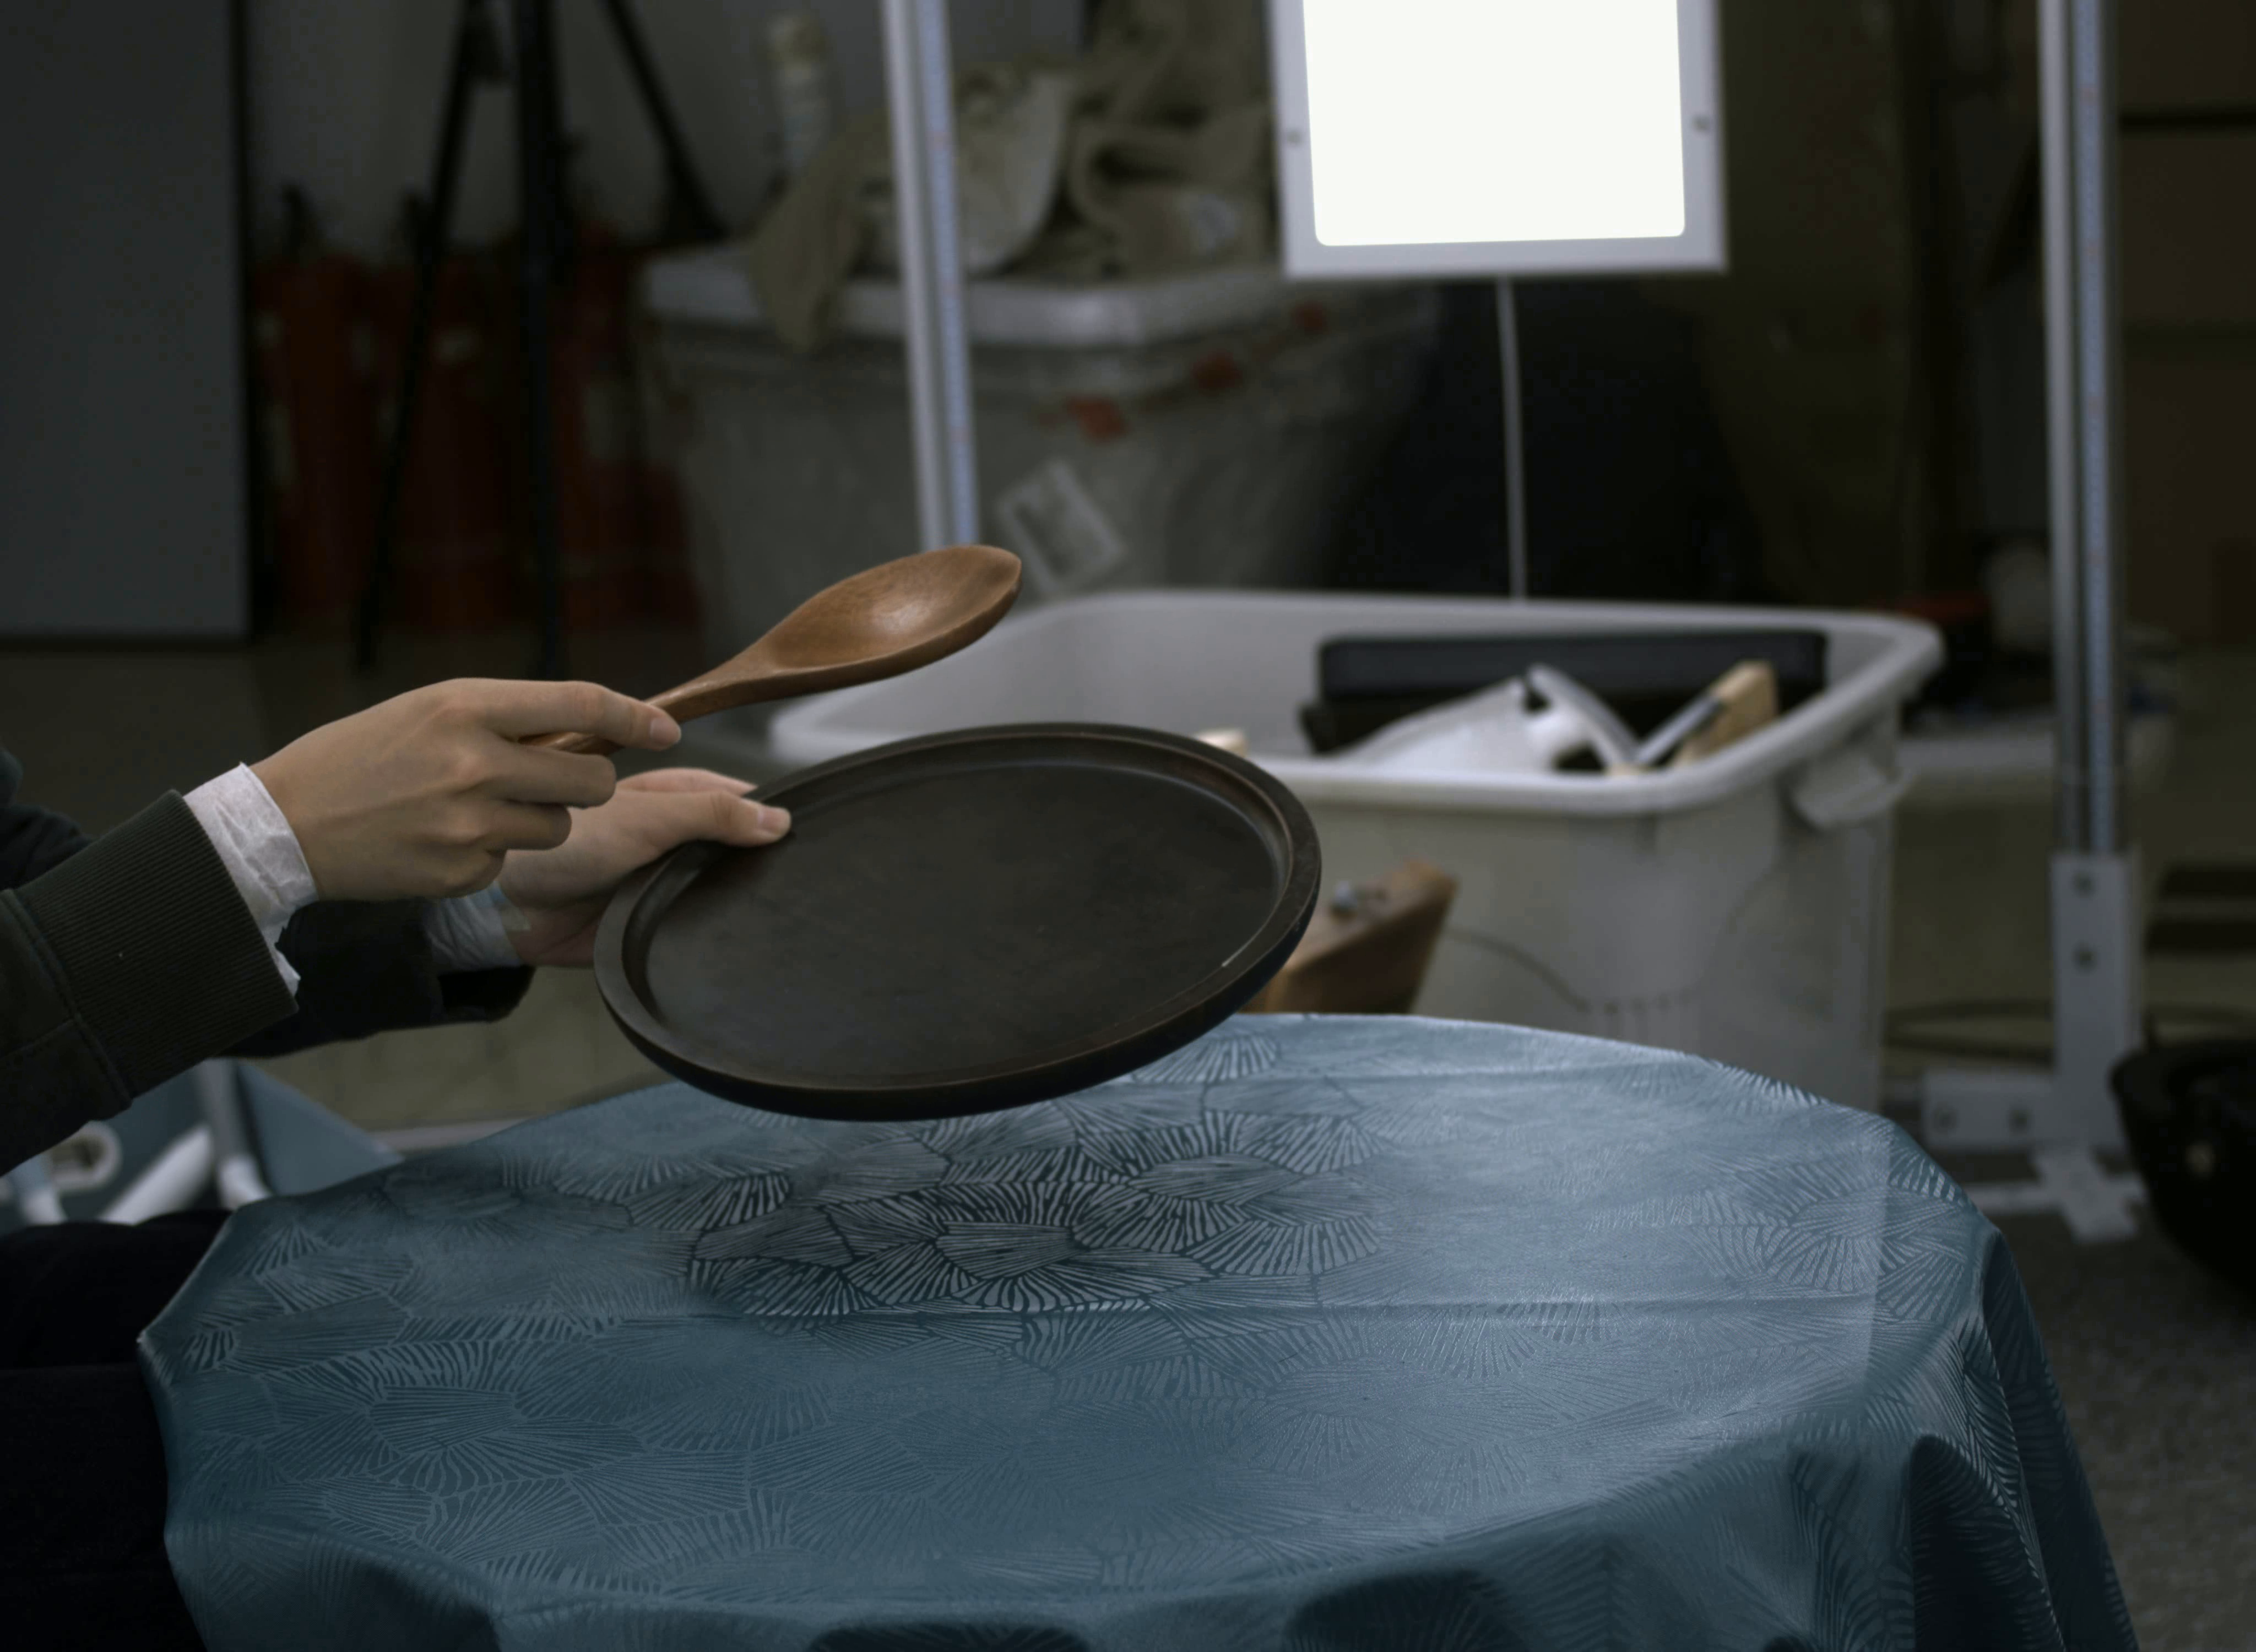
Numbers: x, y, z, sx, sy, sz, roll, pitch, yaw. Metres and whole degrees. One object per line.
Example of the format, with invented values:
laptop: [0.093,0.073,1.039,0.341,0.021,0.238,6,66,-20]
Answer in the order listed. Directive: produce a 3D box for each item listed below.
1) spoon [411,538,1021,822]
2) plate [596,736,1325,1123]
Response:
spoon: [-0.135,-0.046,1.815,0.214,0.017,0.076,-22,28,-6]
plate: [-0.057,0.033,1.887,0.255,0.029,0.254,-8,27,3]
